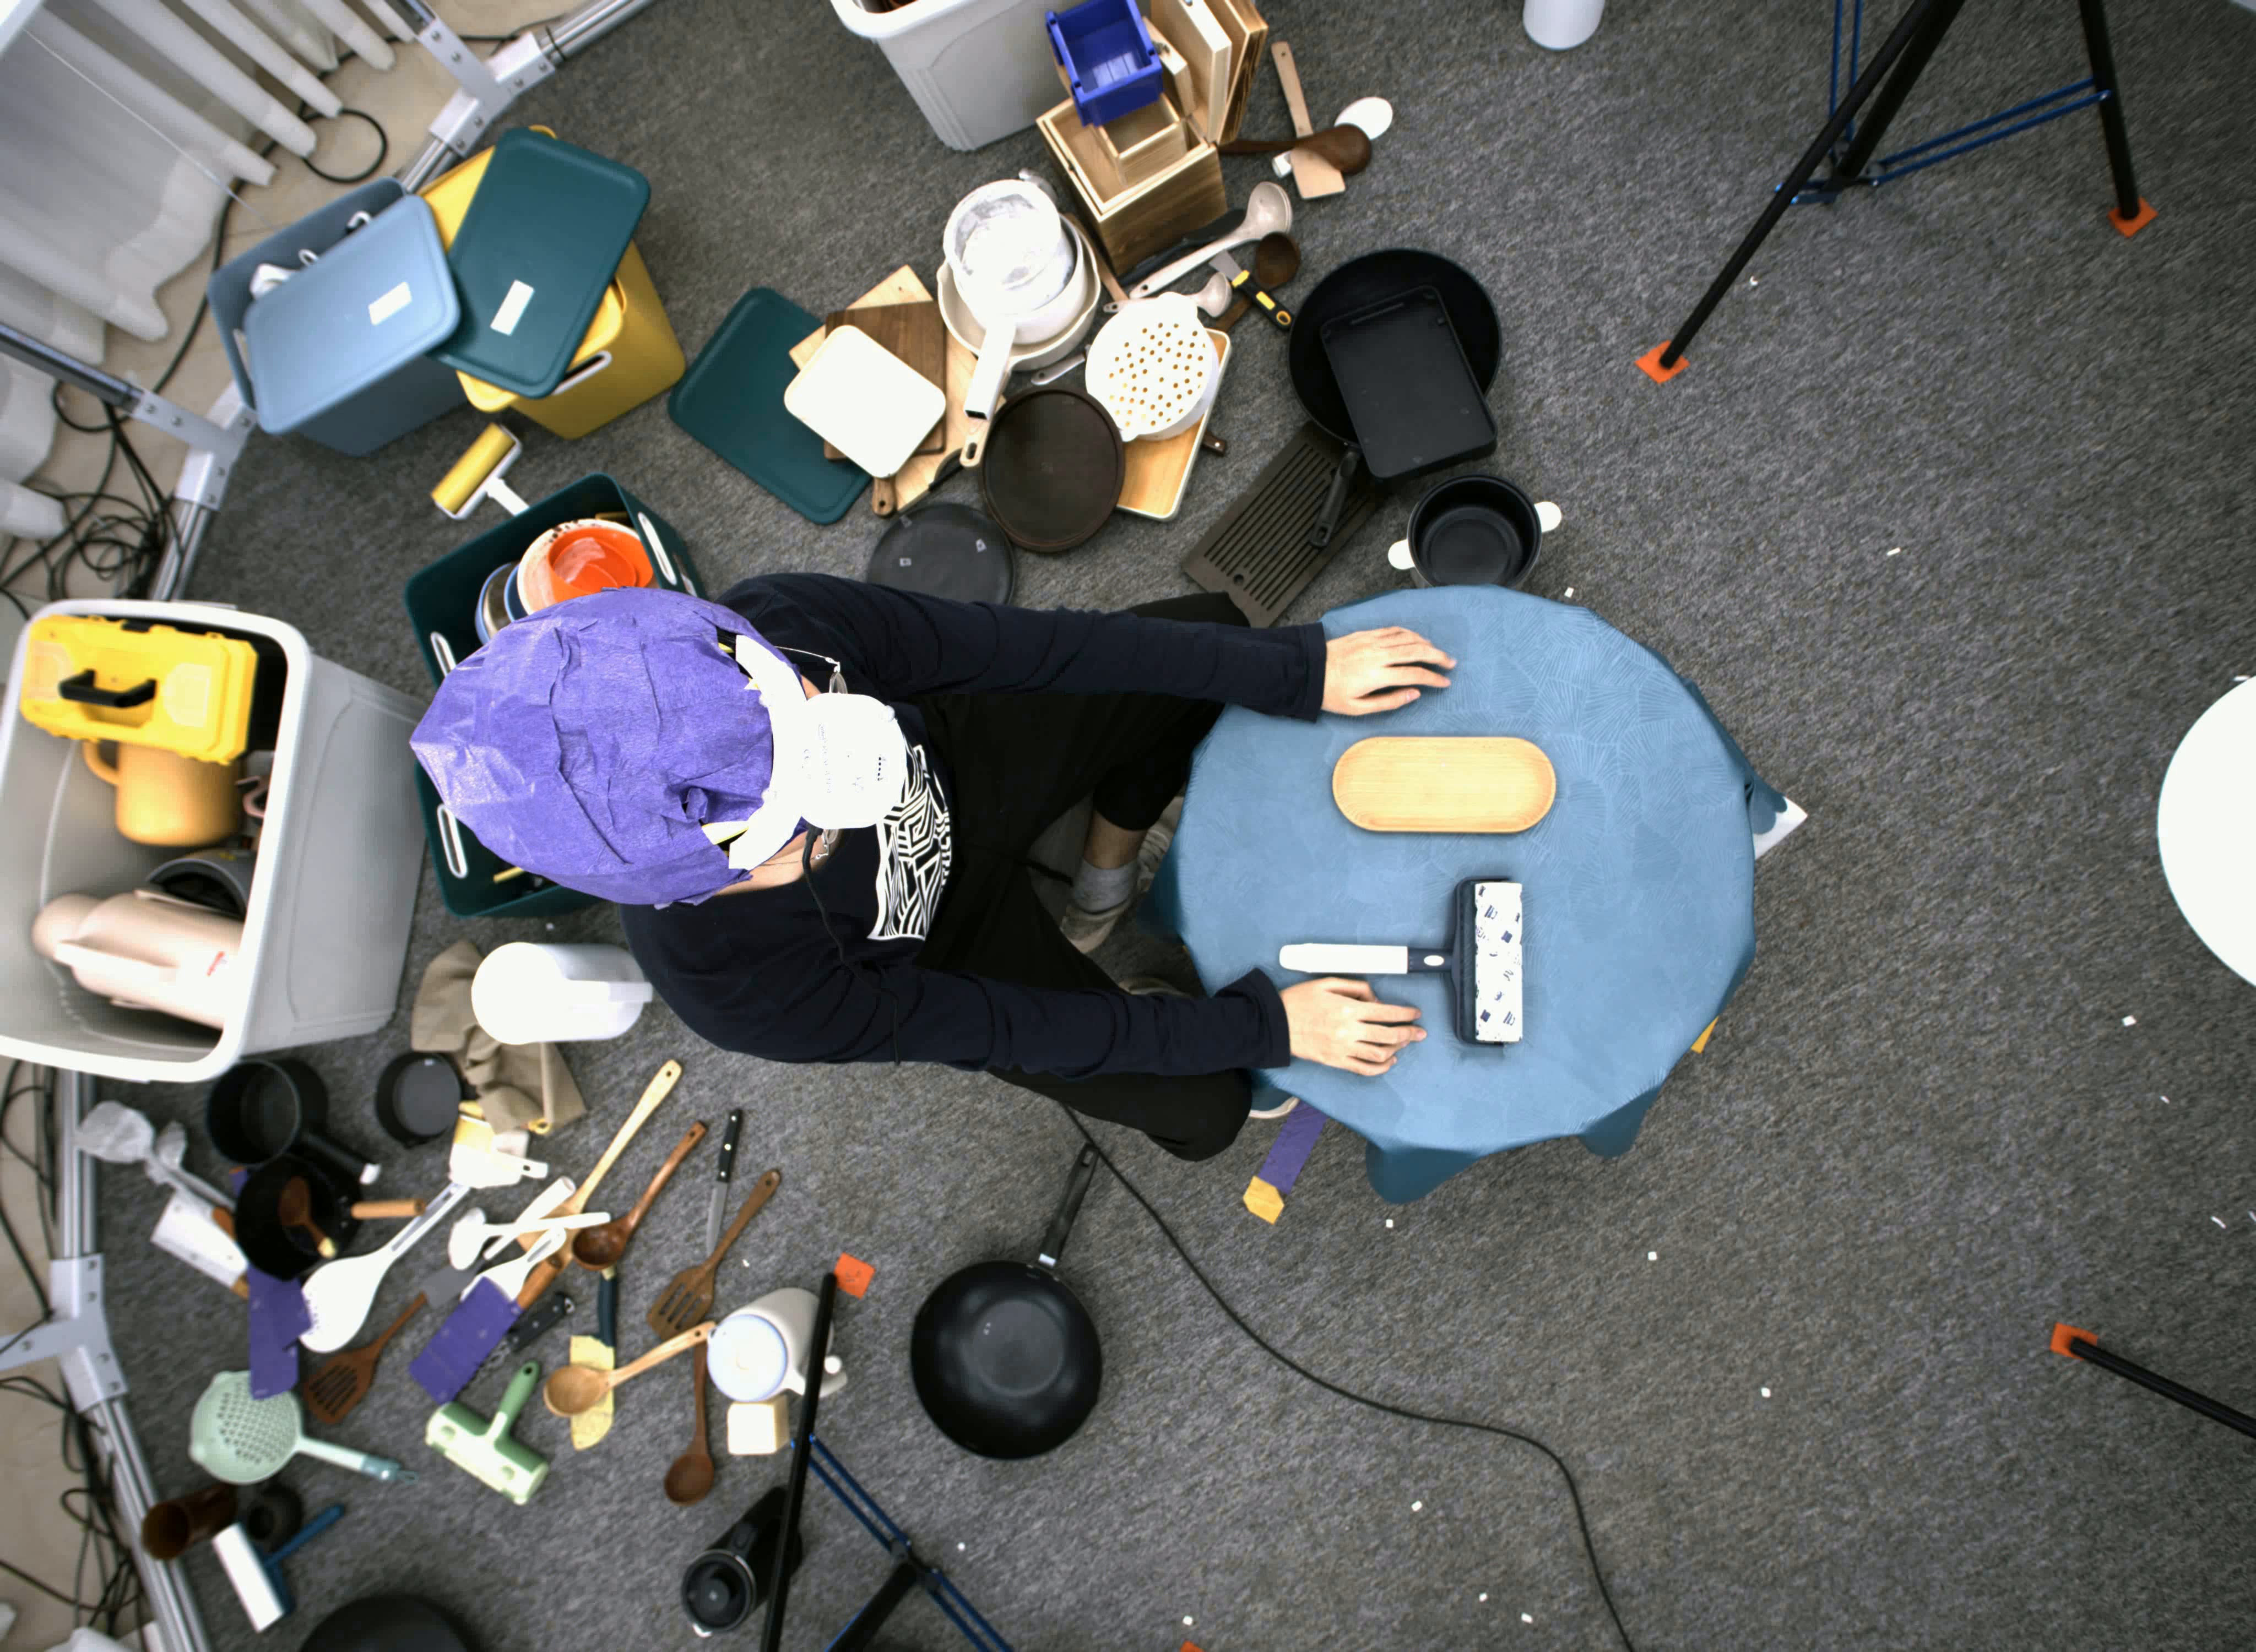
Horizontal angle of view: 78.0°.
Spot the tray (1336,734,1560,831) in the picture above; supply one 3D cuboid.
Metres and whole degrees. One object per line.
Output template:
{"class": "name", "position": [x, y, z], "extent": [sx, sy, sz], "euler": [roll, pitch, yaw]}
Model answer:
{"class": "tray", "position": [0.335, -0.047, 1.446], "extent": [0.232, 0.020, 0.101], "euler": [-1, 88, 10]}

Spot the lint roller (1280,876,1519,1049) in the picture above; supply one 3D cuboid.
{"class": "lint roller", "position": [0.280, 0.139, 1.435], "extent": [0.248, 0.050, 0.175], "euler": [-1, 87, 14]}
